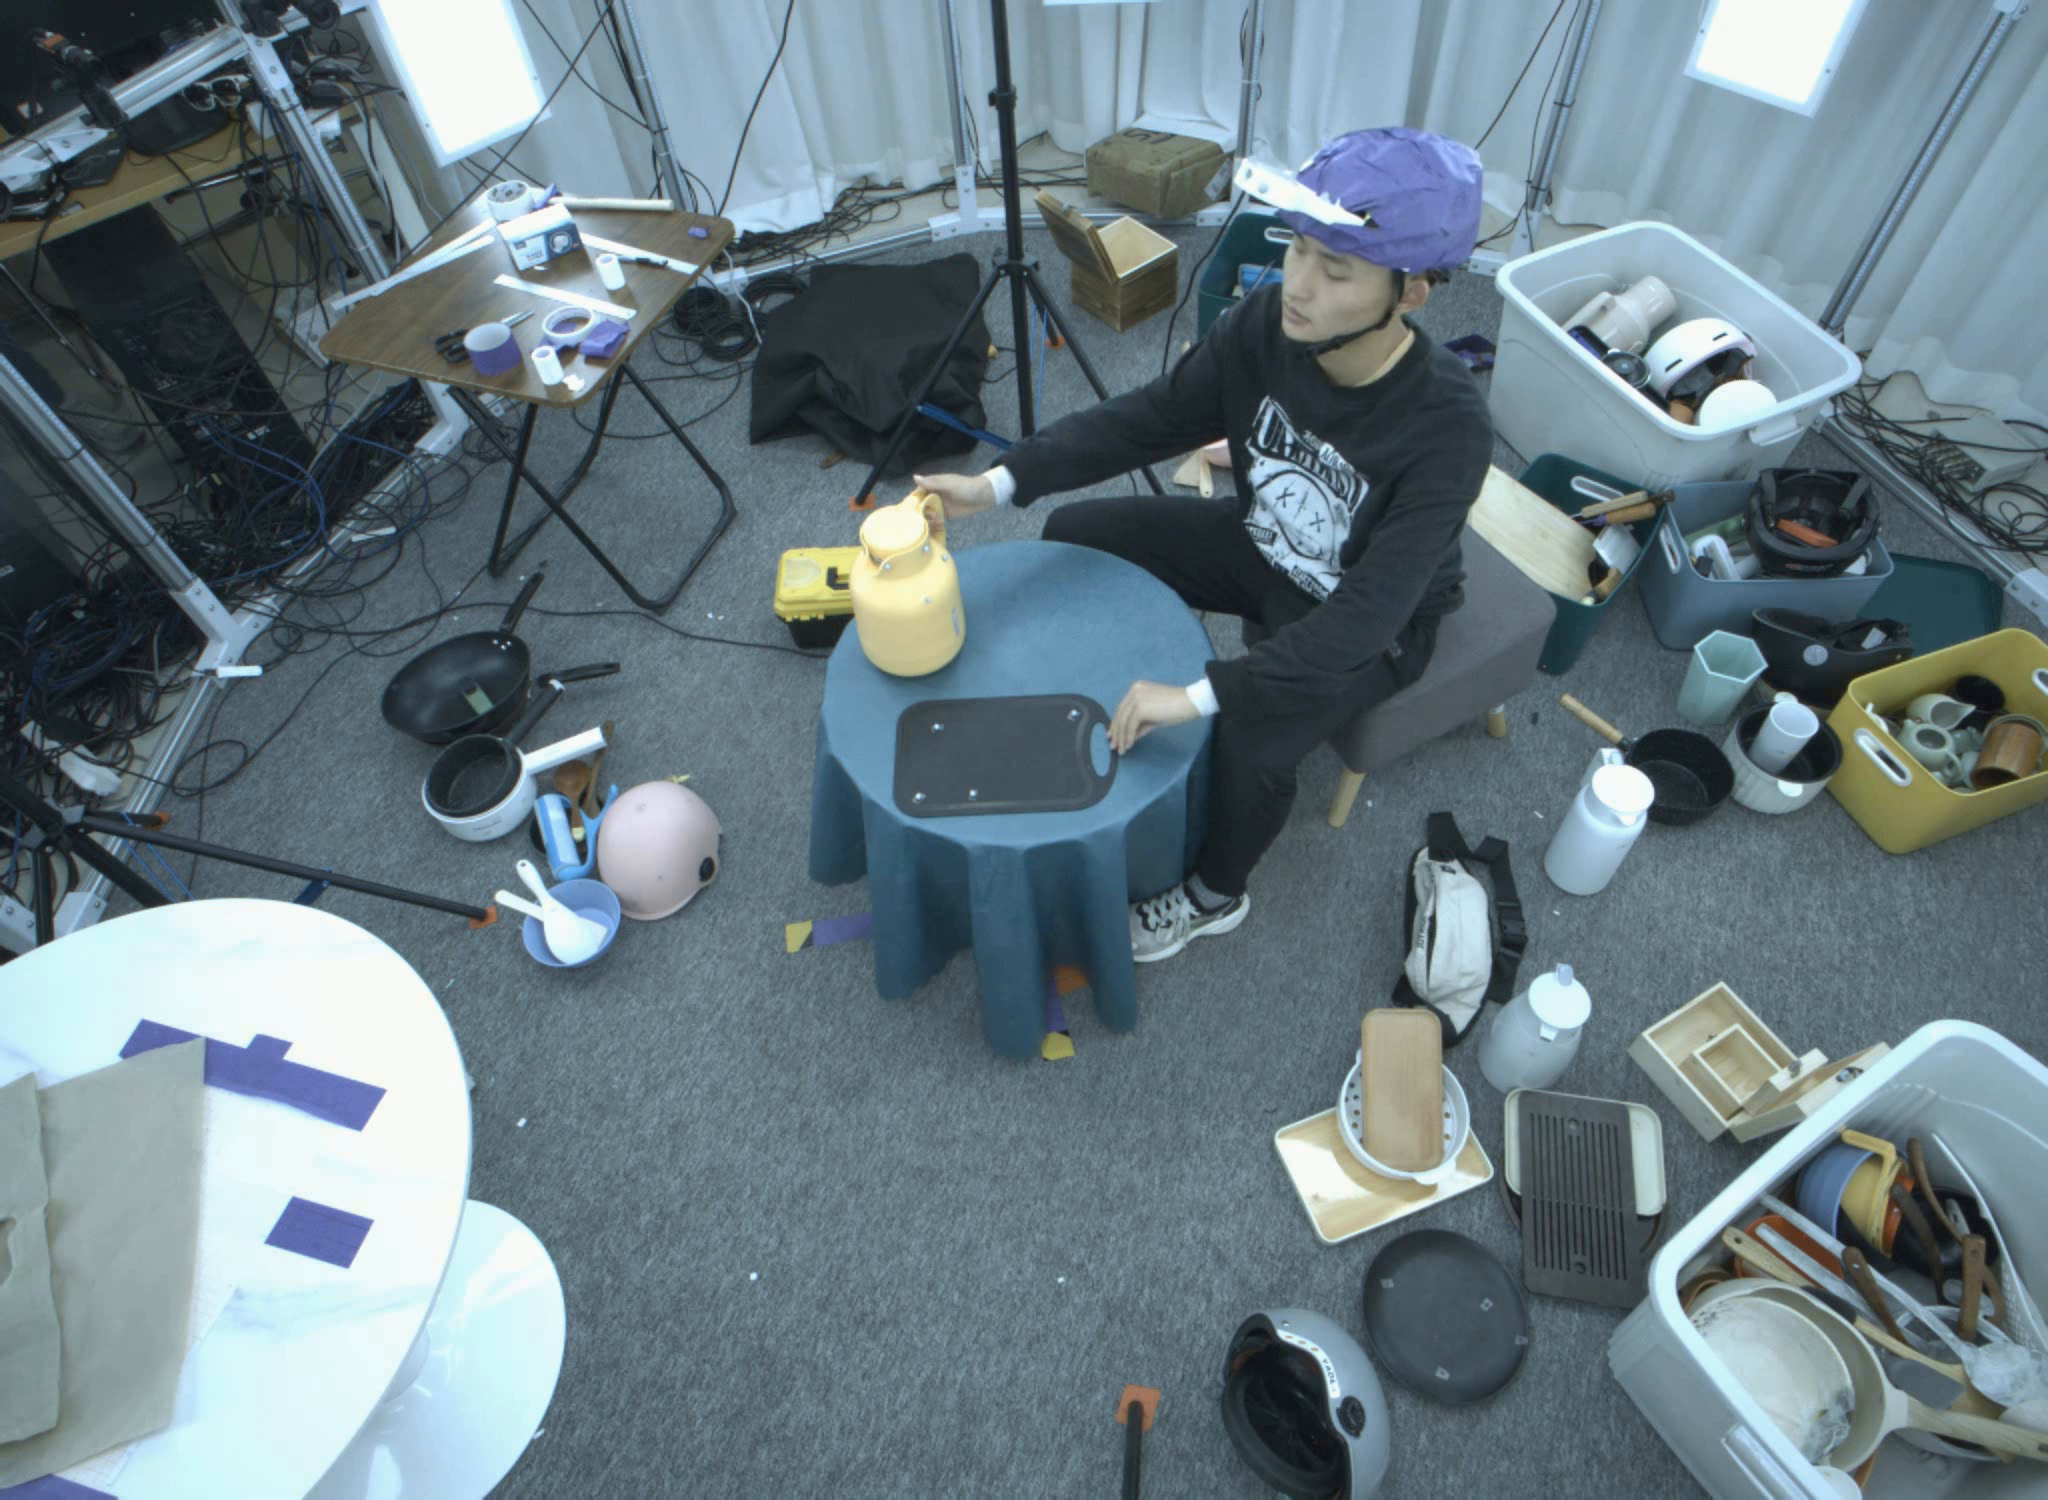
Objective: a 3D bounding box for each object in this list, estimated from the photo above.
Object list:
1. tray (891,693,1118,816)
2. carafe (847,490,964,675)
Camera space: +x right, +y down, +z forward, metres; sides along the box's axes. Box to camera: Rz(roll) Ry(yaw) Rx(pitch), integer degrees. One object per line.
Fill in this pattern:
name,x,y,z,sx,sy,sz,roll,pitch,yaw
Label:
tray,-0.027,0.002,1.778,0.325,0.010,0.209,-2,55,0
carafe,-0.169,-0.255,1.809,0.162,0.263,0.202,20,59,14
